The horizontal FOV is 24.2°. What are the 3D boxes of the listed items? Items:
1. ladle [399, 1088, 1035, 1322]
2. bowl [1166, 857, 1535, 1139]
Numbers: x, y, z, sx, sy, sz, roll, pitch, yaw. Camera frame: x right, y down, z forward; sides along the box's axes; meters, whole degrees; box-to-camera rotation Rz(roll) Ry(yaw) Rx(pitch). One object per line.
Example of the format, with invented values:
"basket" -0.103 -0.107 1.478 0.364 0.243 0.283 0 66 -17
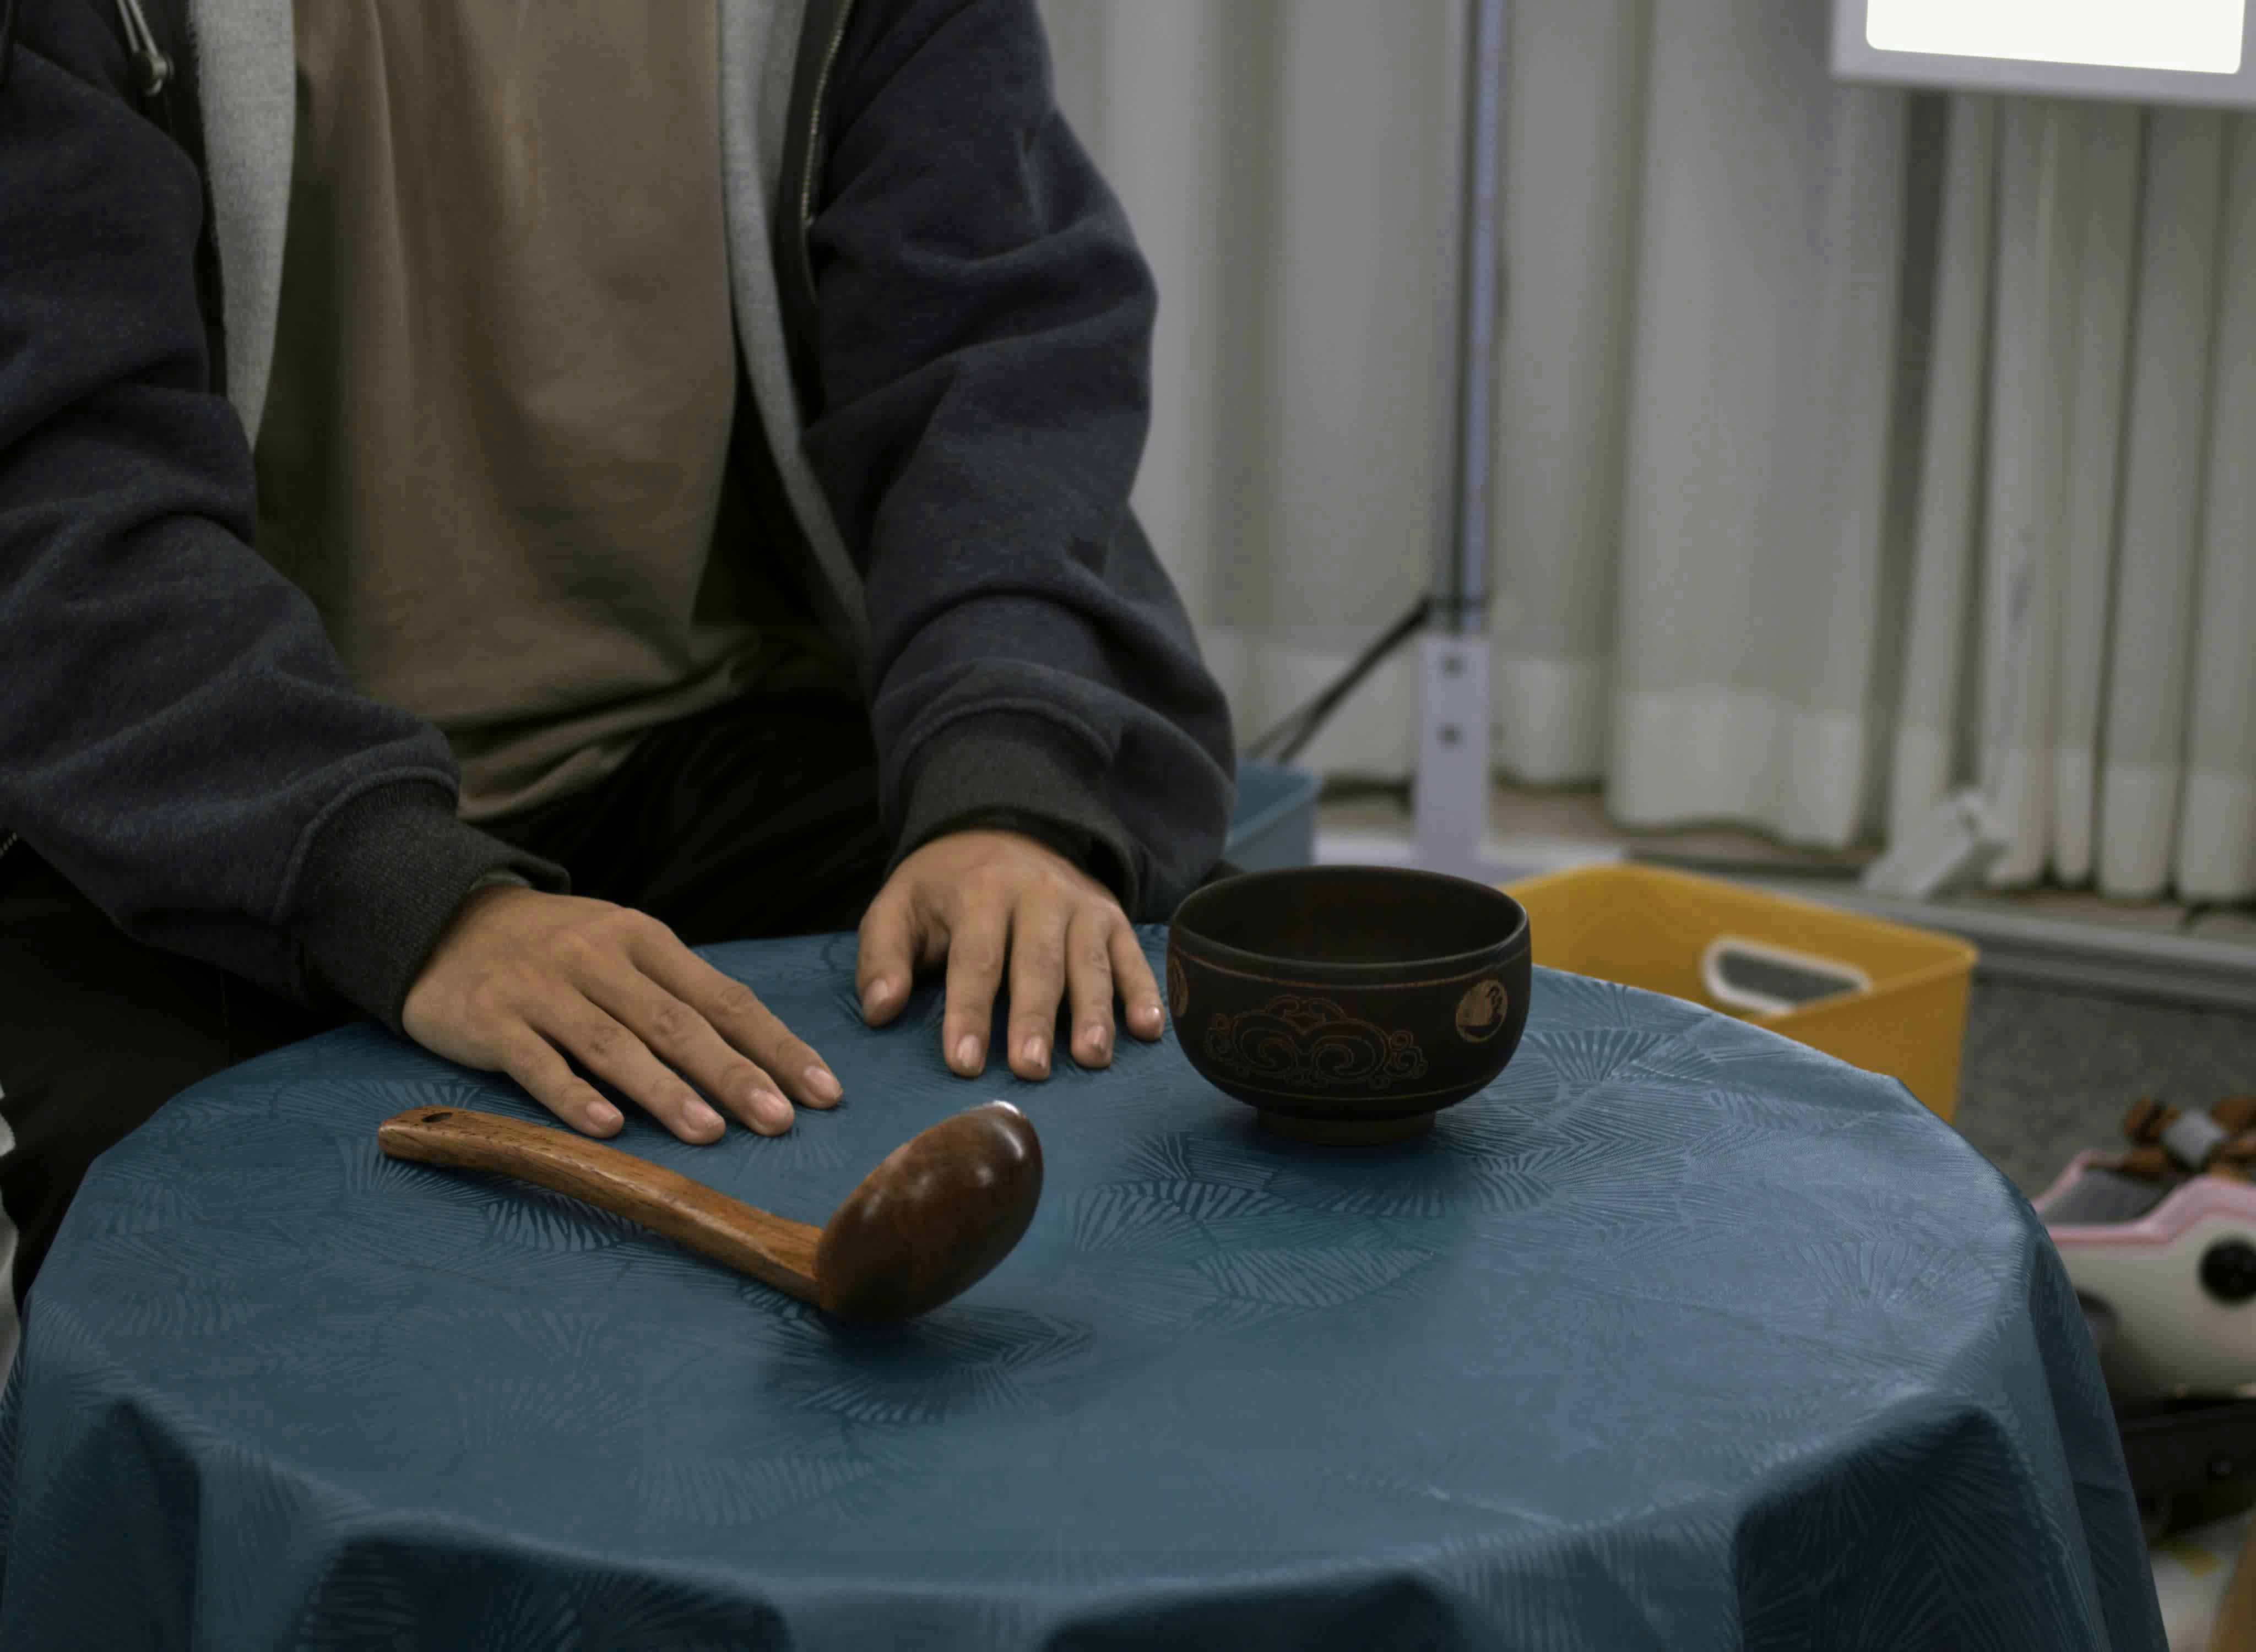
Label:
"ladle" -0.134 0.088 1.557 0.082 0.077 0.270 -21 26 -40
"bowl" 0.071 0.058 1.681 0.117 0.070 0.117 0 16 0
